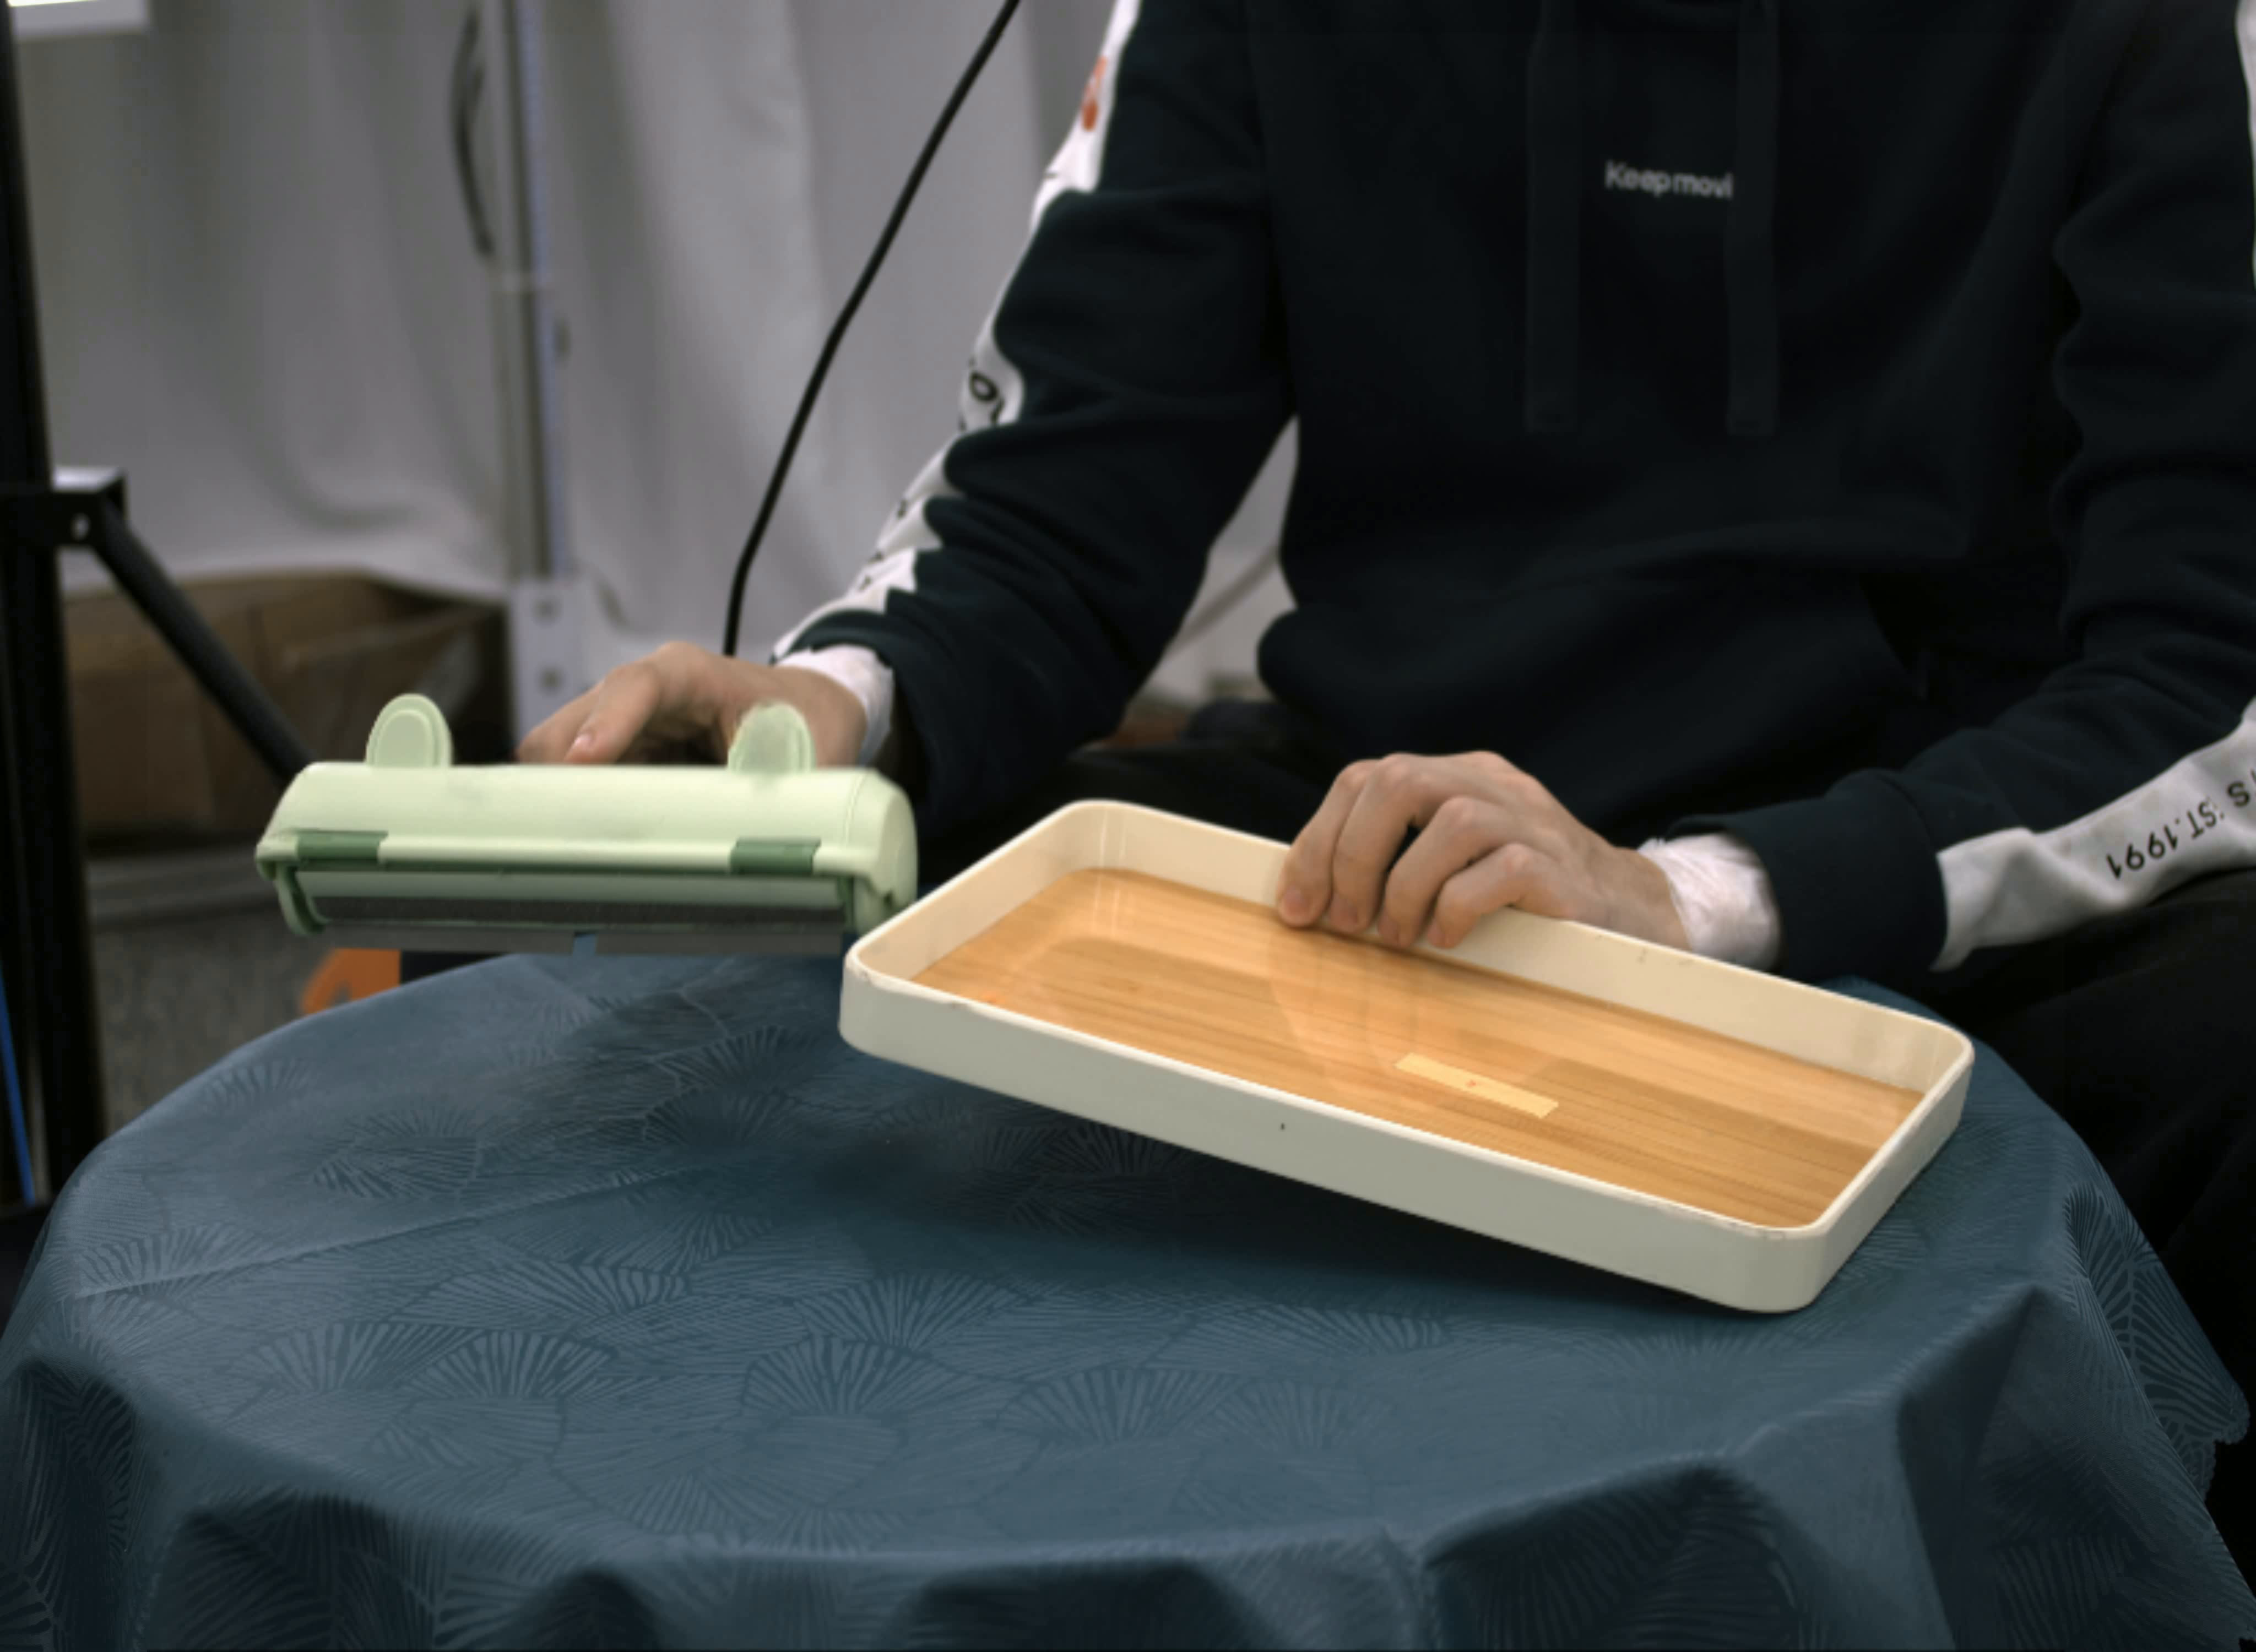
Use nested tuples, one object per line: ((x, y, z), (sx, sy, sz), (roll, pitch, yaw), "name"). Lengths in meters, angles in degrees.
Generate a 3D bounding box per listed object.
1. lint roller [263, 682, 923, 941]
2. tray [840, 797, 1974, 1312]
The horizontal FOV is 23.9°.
((-0.152, -0.016, 1.679), (0.200, 0.082, 0.182), (-1, 16, 13), "lint roller")
((0.084, 0.063, 1.556), (0.304, 0.027, 0.189), (16, 21, 21), "tray")
